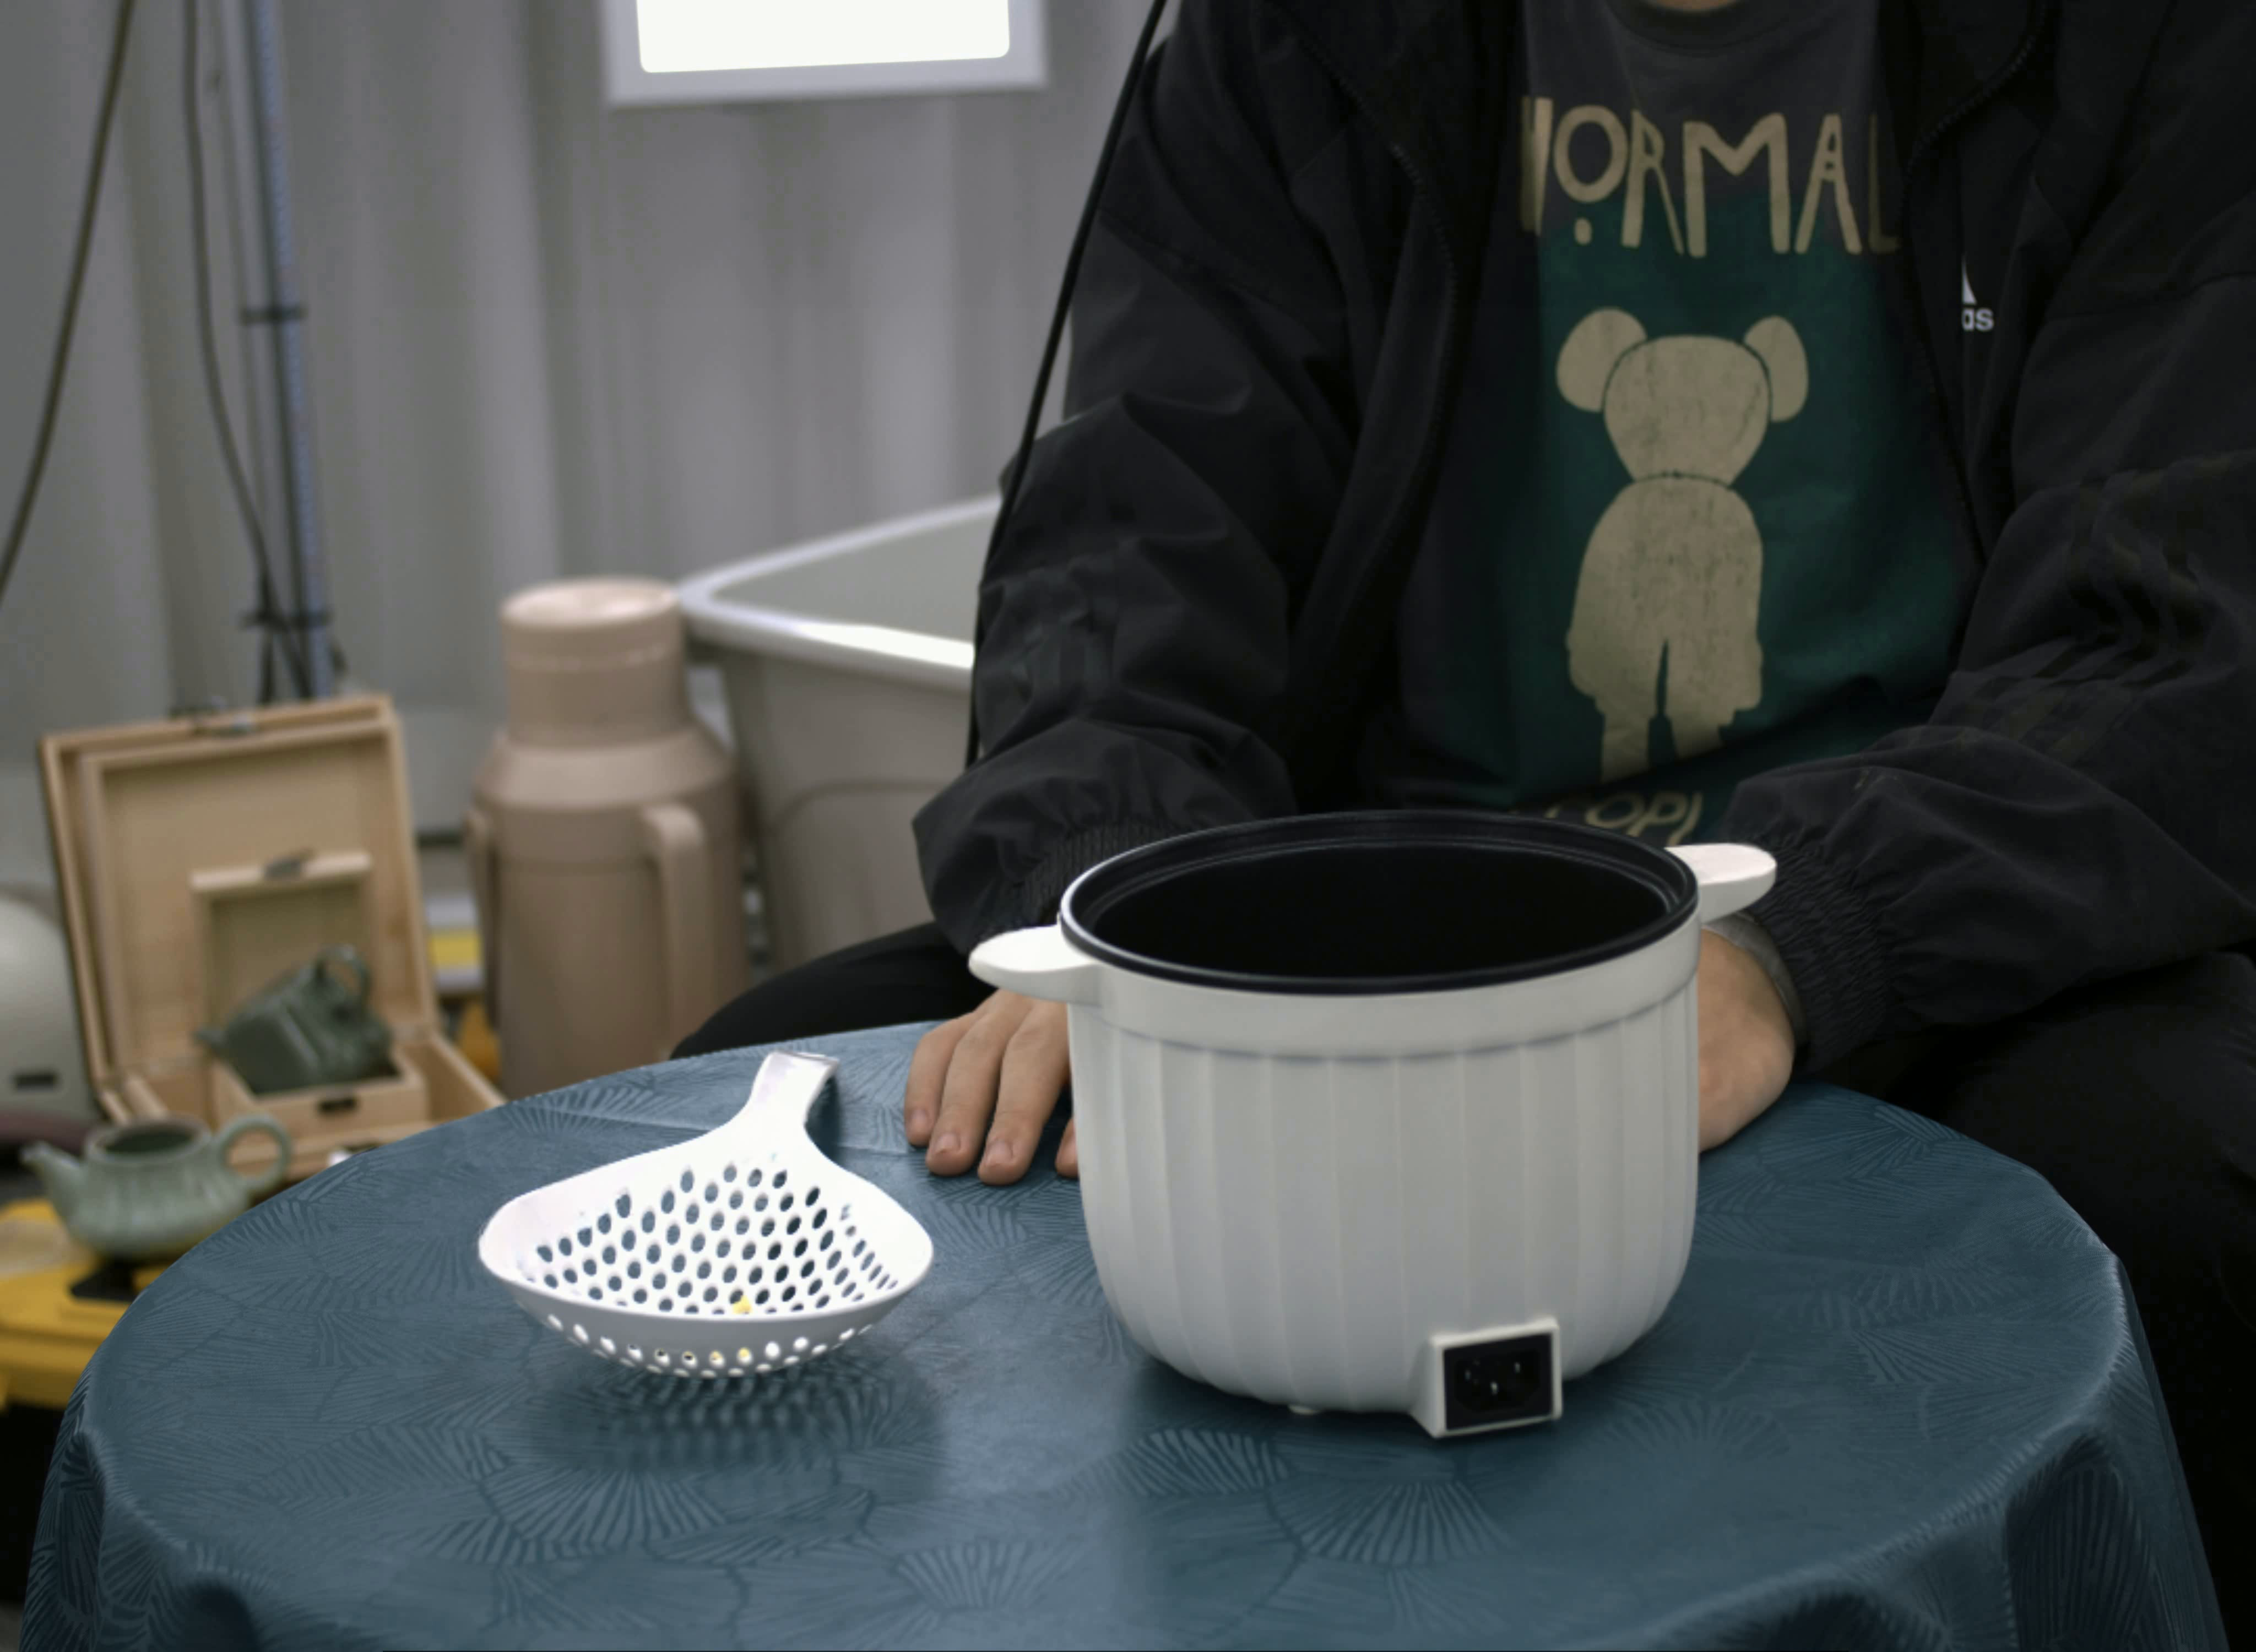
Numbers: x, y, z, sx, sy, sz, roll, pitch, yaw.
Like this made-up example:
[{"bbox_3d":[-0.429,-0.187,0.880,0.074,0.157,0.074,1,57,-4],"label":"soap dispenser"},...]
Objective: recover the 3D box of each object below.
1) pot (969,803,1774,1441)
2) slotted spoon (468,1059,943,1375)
[{"bbox_3d":[0.070,0.081,1.560,0.239,0.142,0.192,-6,18,-17],"label":"pot"},{"bbox_3d":[-0.115,0.107,1.683,0.136,0.050,0.350,3,15,3],"label":"slotted spoon"}]
